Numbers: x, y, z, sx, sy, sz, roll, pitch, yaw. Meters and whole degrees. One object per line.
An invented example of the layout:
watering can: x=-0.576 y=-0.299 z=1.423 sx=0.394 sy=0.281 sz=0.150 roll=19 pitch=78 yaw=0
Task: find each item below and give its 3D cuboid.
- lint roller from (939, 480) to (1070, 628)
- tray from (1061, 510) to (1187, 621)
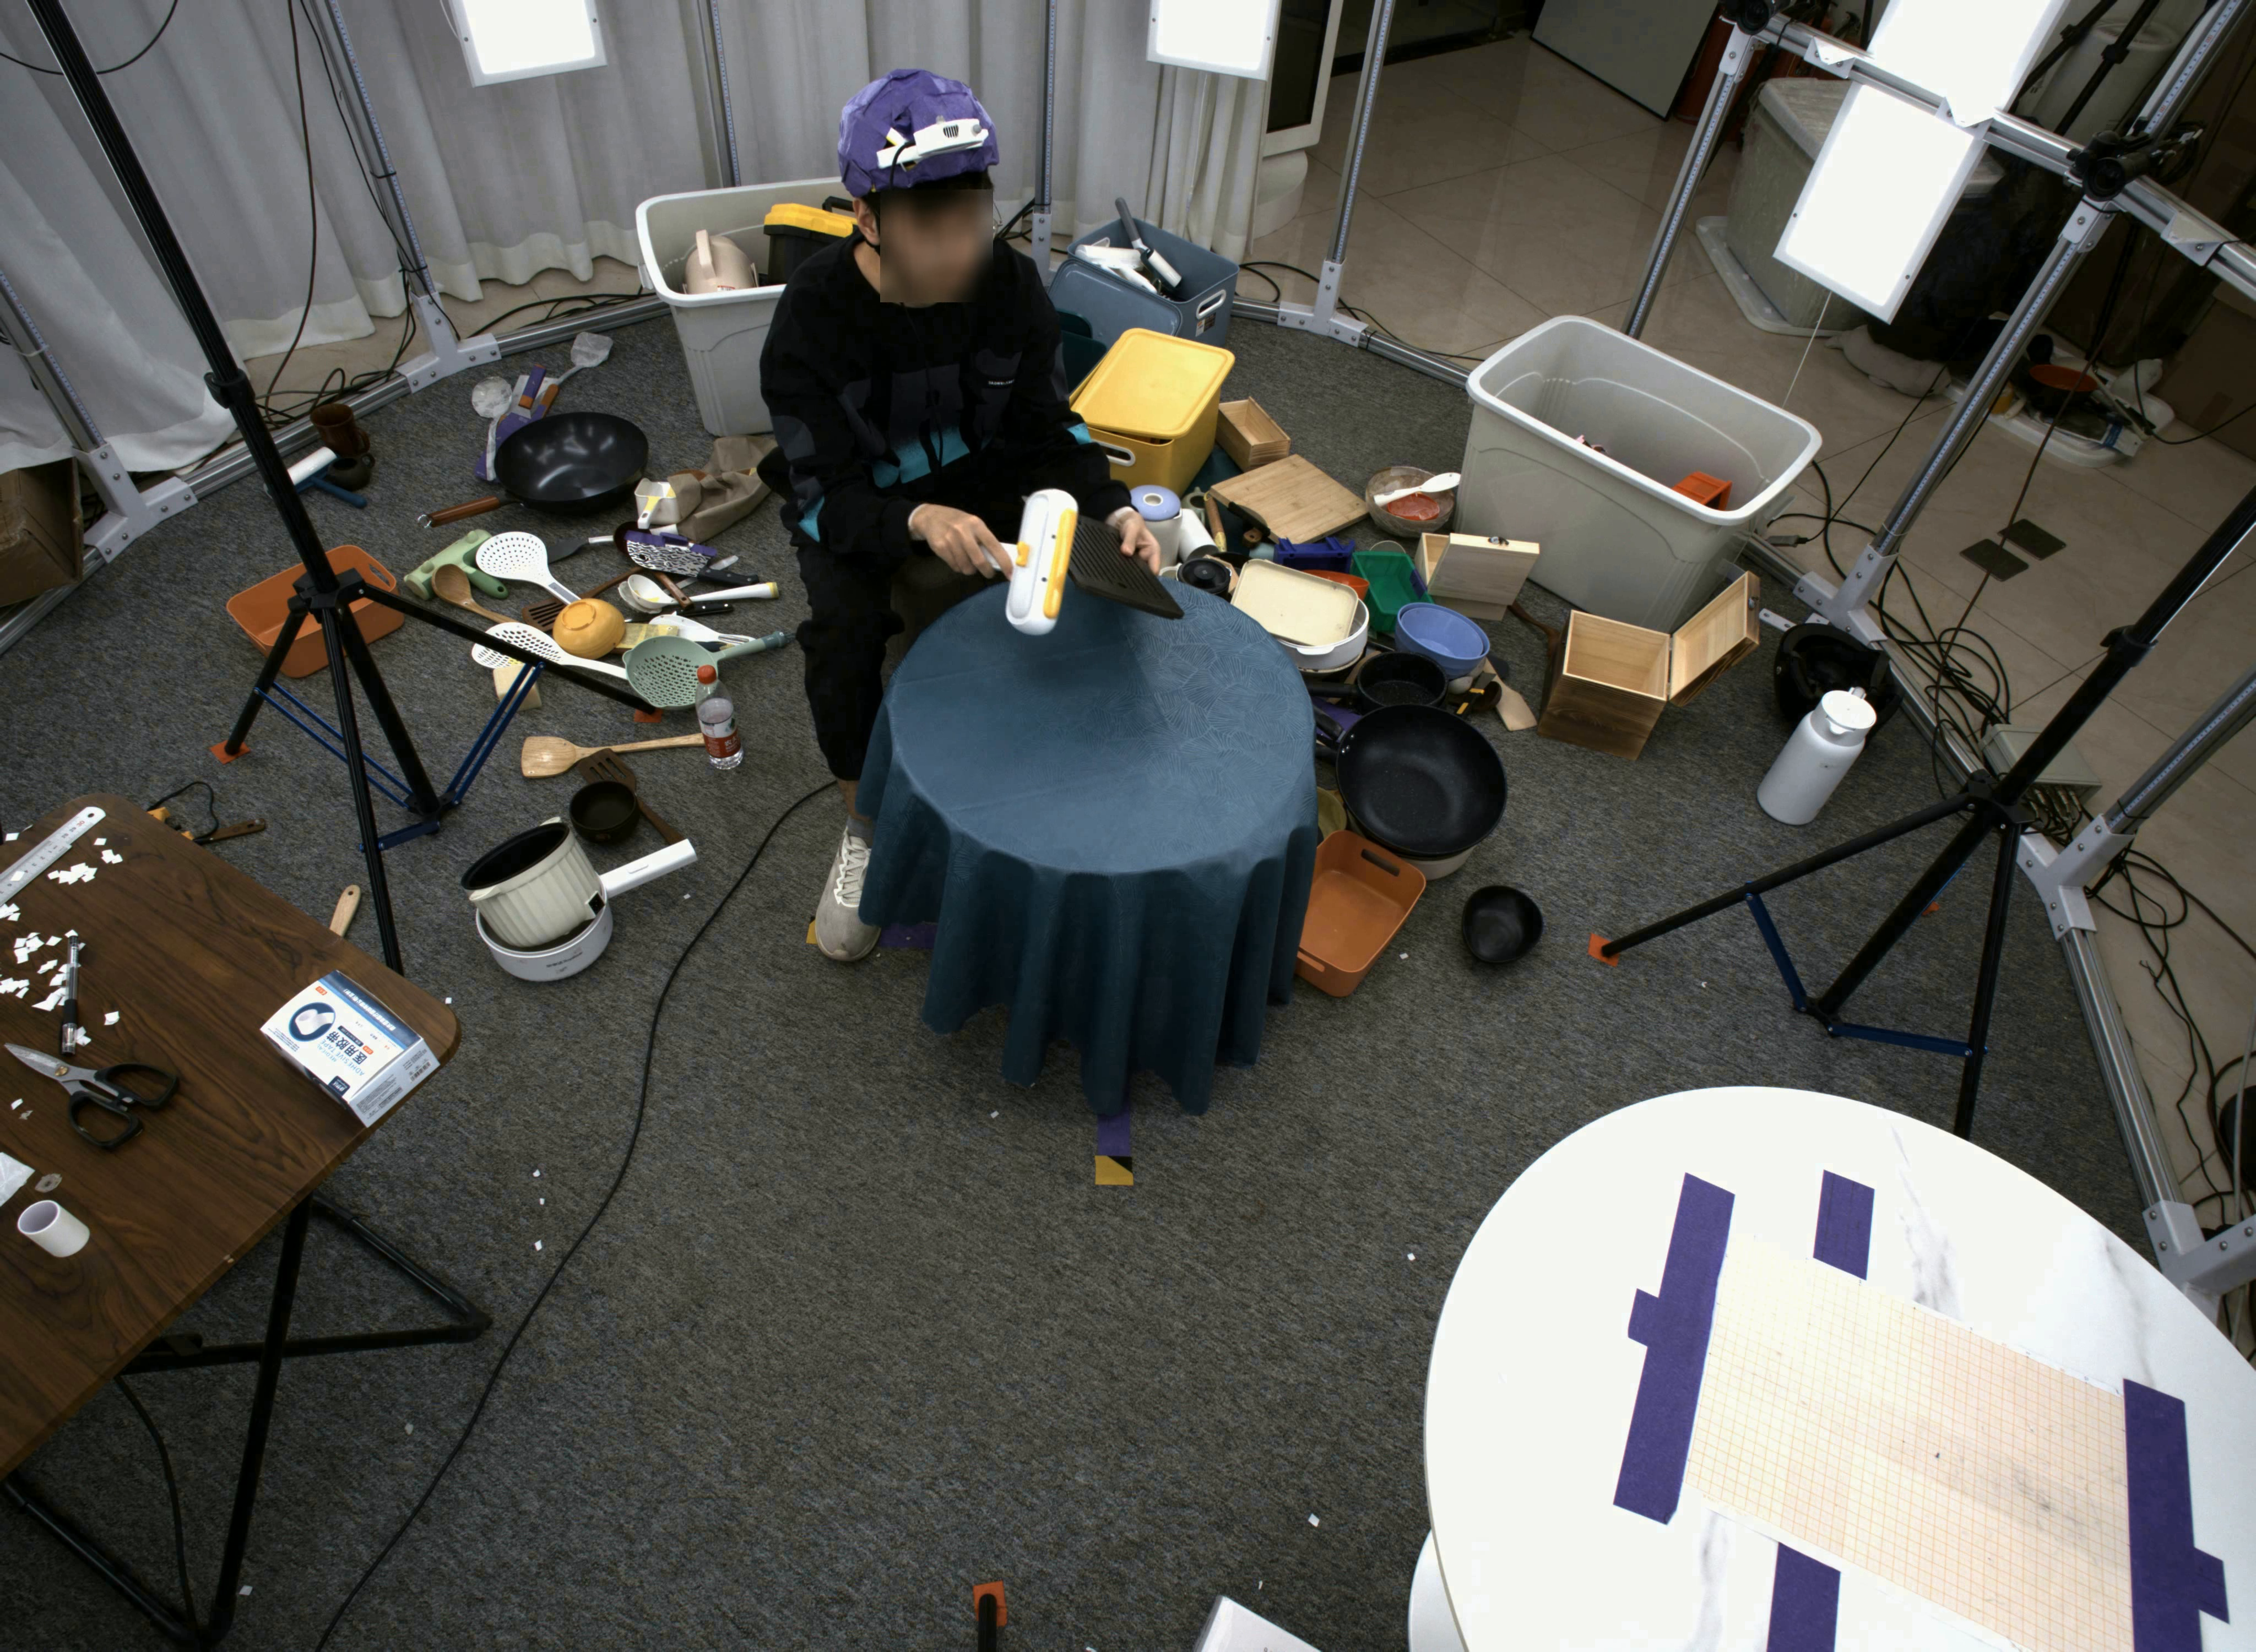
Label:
lint roller: x=-0.167 y=-0.365 z=1.731 sx=0.194 sy=0.192 sz=0.074 roll=8 pitch=4 yaw=38
tray: x=-0.039 y=-0.379 z=1.827 sx=0.168 sy=0.018 sz=0.313 roll=11 pitch=29 yaw=-28
